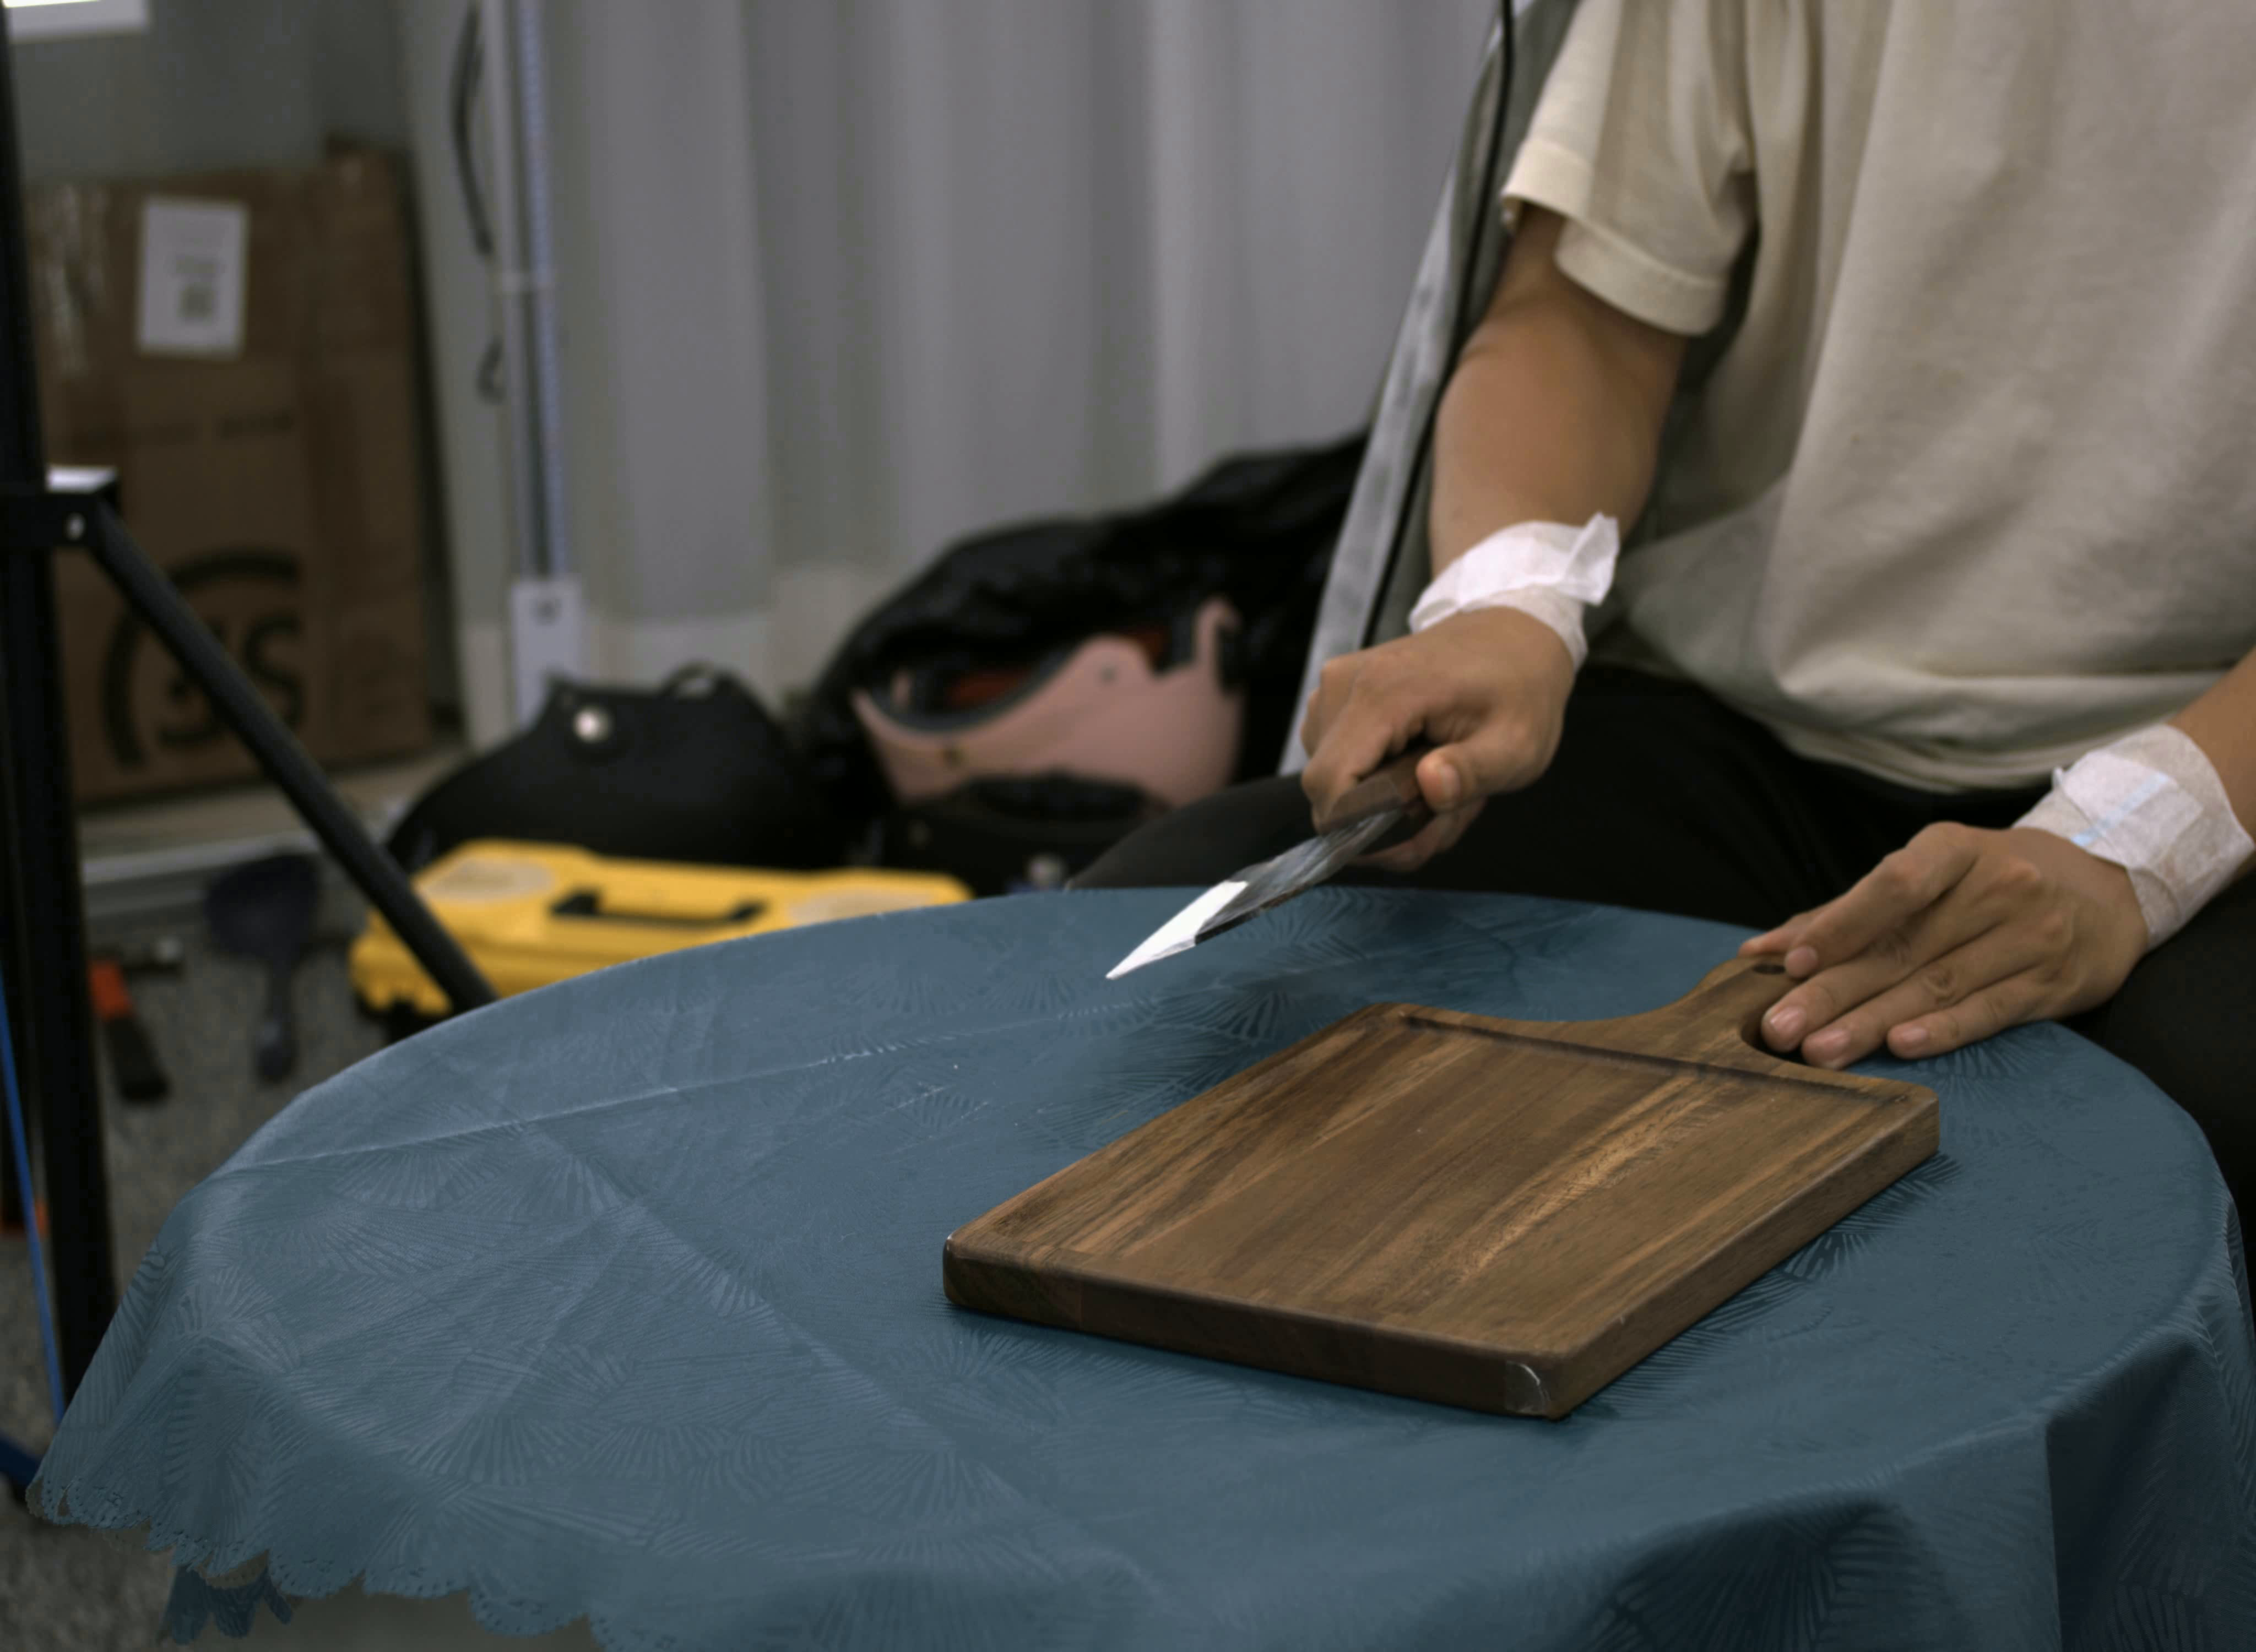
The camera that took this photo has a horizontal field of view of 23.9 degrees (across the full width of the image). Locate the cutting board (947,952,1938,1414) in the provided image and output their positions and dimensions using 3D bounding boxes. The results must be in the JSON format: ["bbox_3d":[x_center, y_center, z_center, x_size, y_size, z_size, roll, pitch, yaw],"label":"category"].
[{"bbox_3d":[0.121,0.093,1.553,0.205,0.023,0.345,7,18,32],"label":"cutting board"}]

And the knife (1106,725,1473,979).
[{"bbox_3d":[0.055,0.010,1.726,0.069,0.024,0.296,-22,4,20],"label":"knife"}]
